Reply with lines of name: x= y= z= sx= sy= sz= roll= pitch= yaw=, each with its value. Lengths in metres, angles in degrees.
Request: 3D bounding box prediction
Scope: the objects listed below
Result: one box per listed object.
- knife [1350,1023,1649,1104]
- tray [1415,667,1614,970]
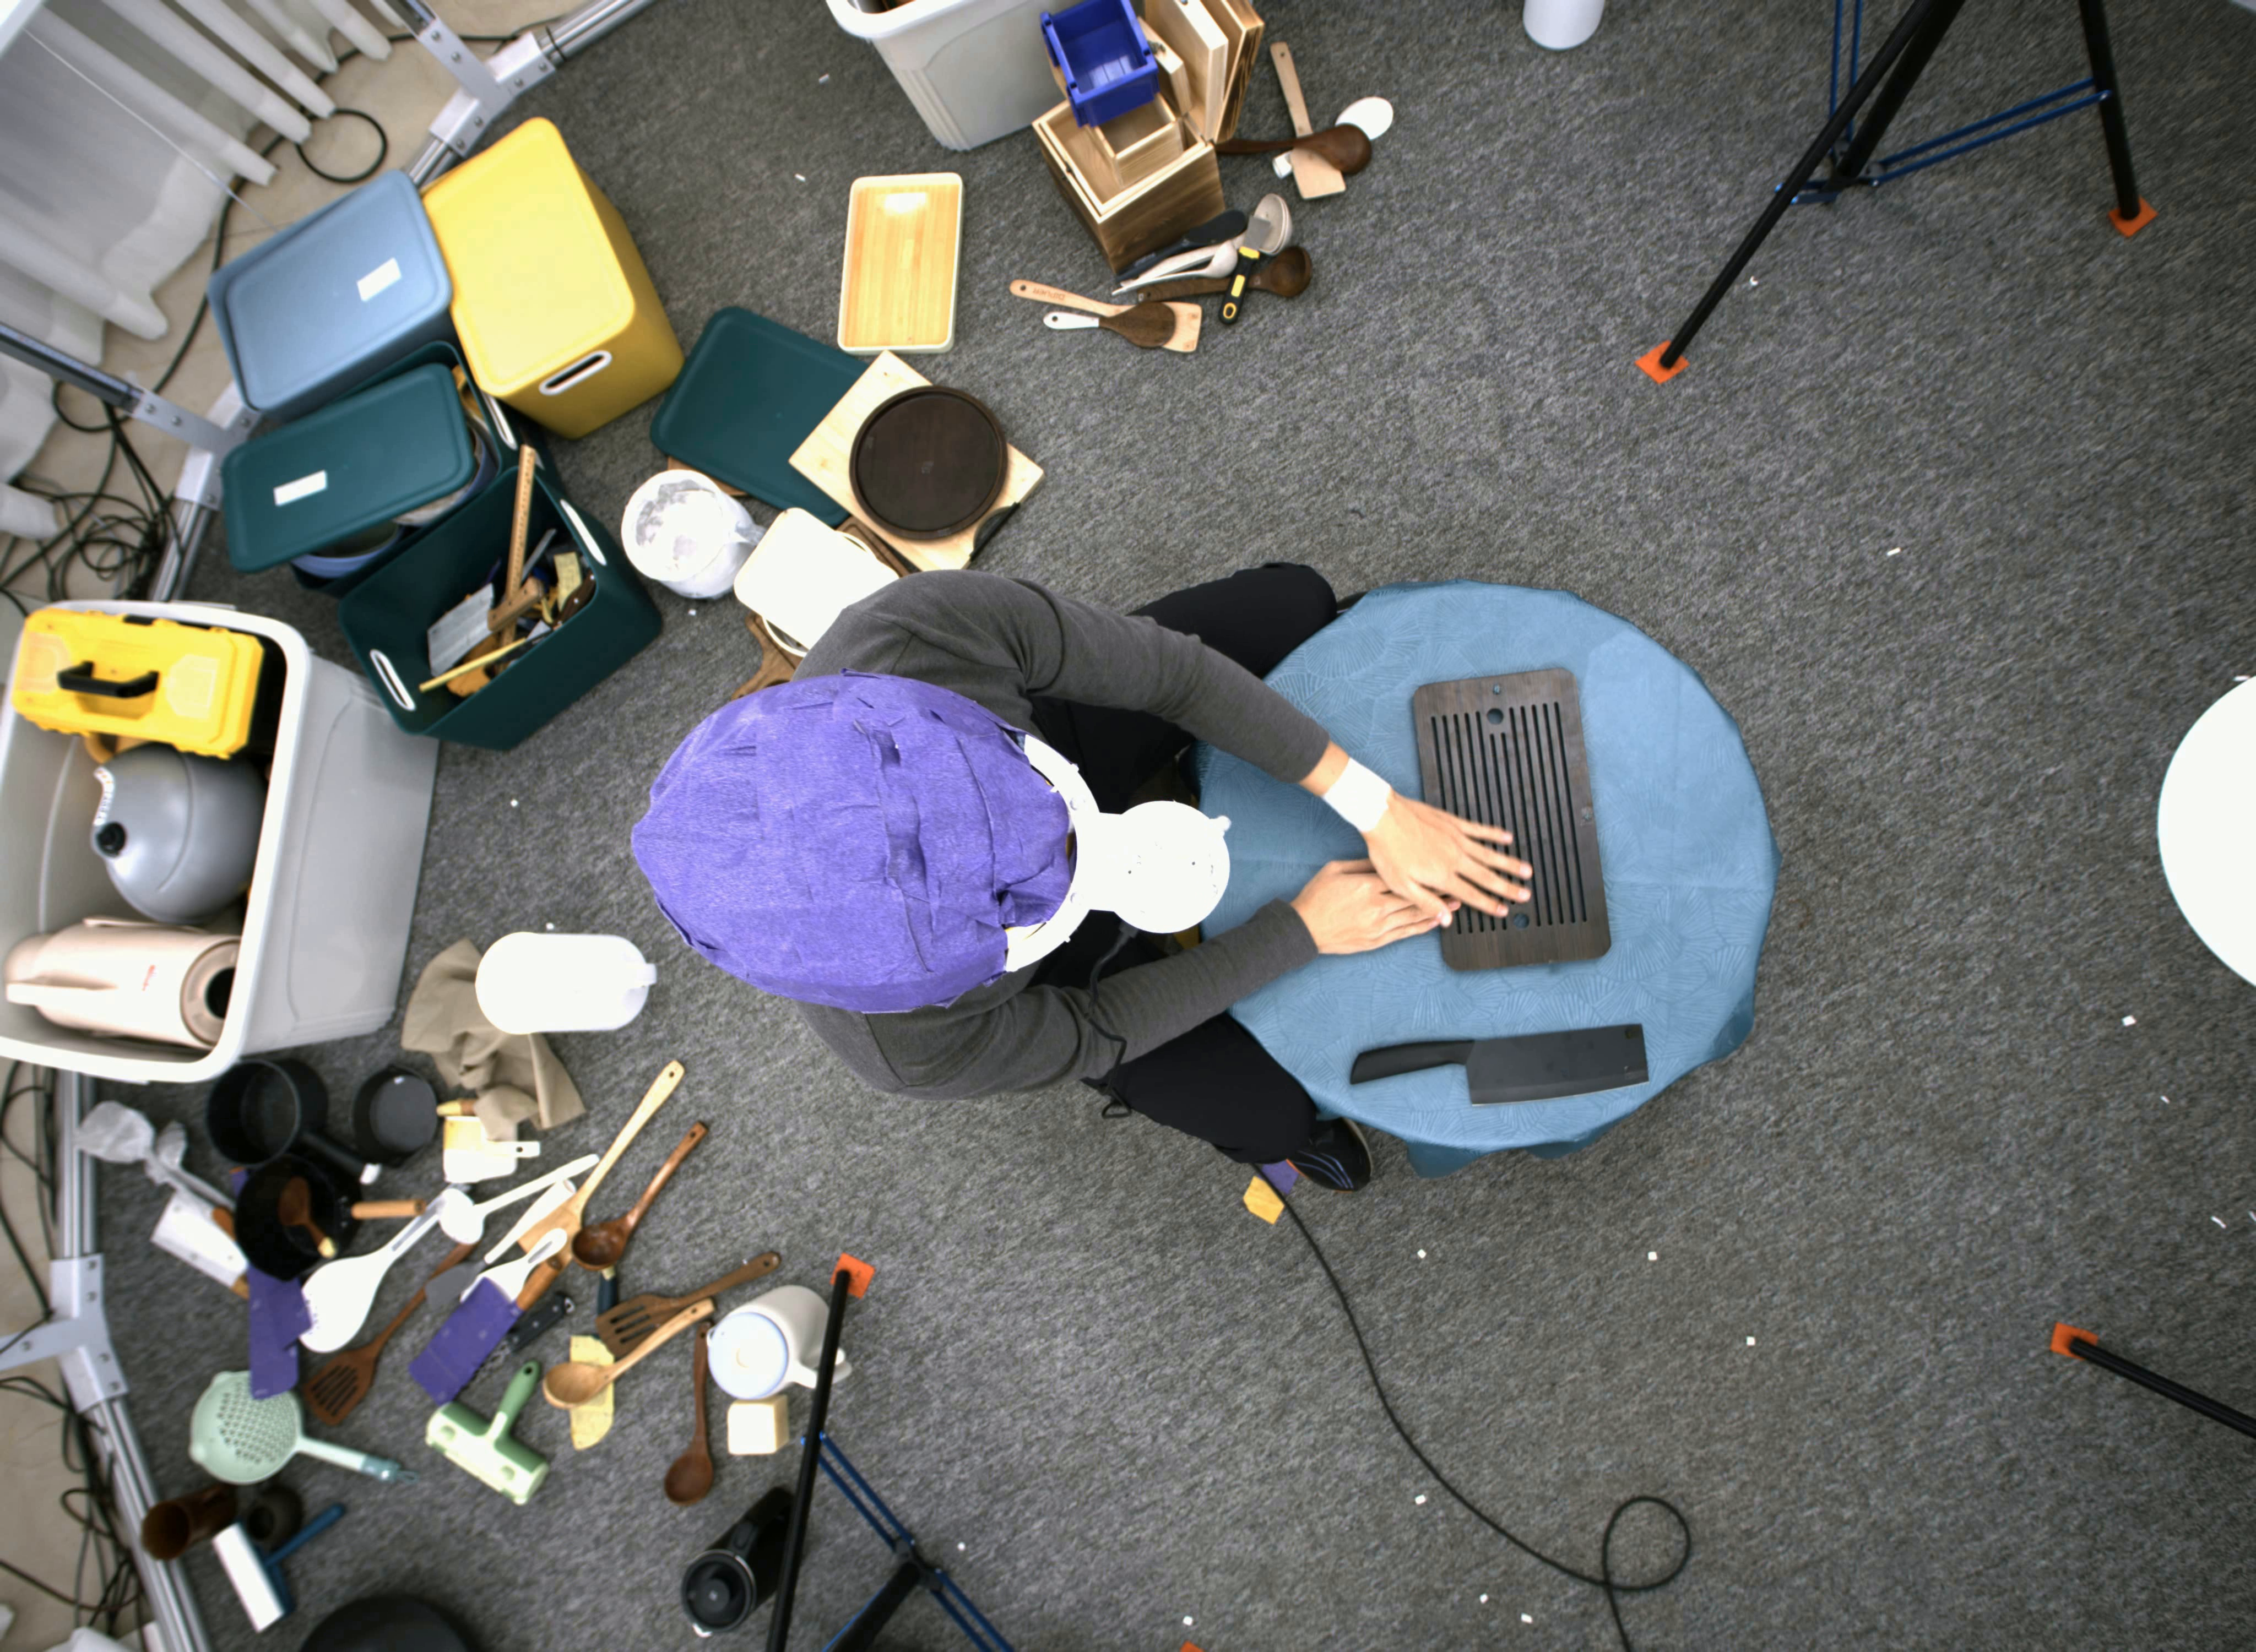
knife: x=0.381 y=0.245 z=1.423 sx=0.303 sy=0.021 sz=0.080 roll=-3 pitch=87 yaw=9
tray: x=0.401 y=-0.010 z=1.431 sx=0.171 sy=0.018 sz=0.304 roll=-6 pitch=85 yaw=11
